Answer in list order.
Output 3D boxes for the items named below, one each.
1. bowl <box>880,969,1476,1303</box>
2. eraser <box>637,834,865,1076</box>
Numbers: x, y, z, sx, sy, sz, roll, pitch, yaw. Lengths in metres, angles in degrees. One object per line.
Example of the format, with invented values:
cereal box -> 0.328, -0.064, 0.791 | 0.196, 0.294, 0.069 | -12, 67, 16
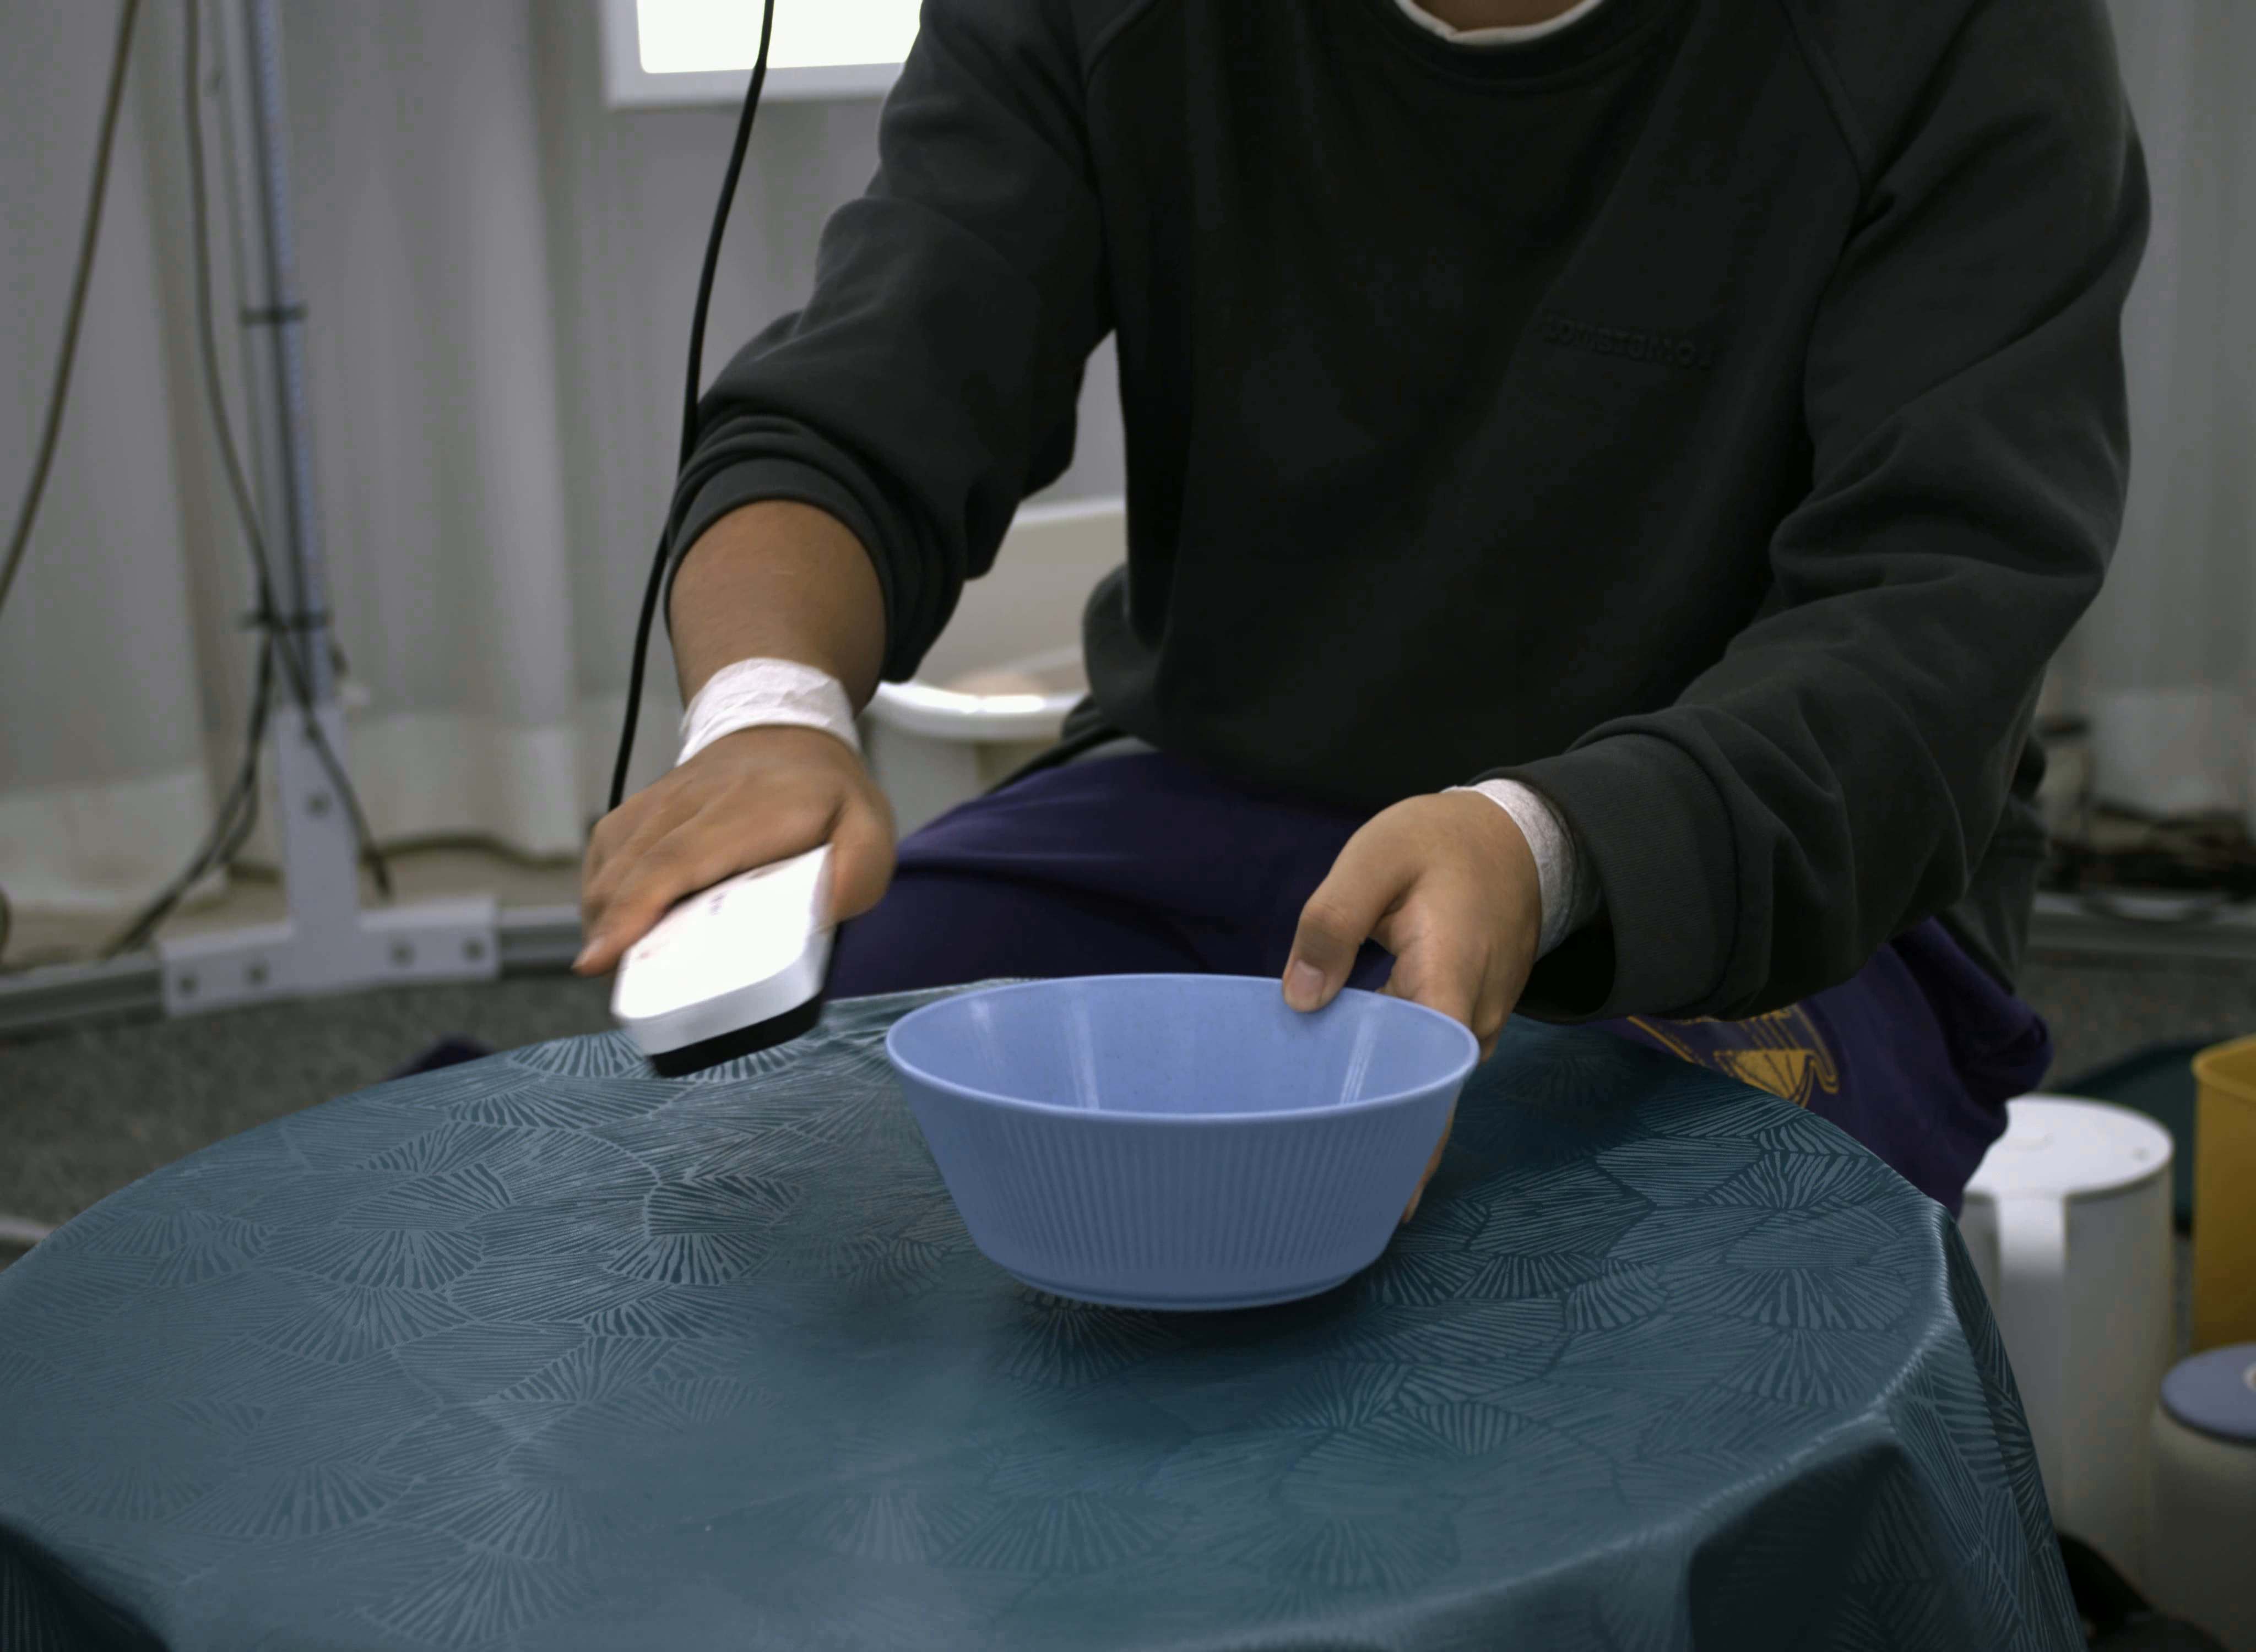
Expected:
bowl -> 0.014, 0.093, 1.613 | 0.175, 0.070, 0.177 | 1, 12, -1
eraser -> -0.114, 0.036, 1.687 | 0.063, 0.034, 0.132 | -17, 17, 7
